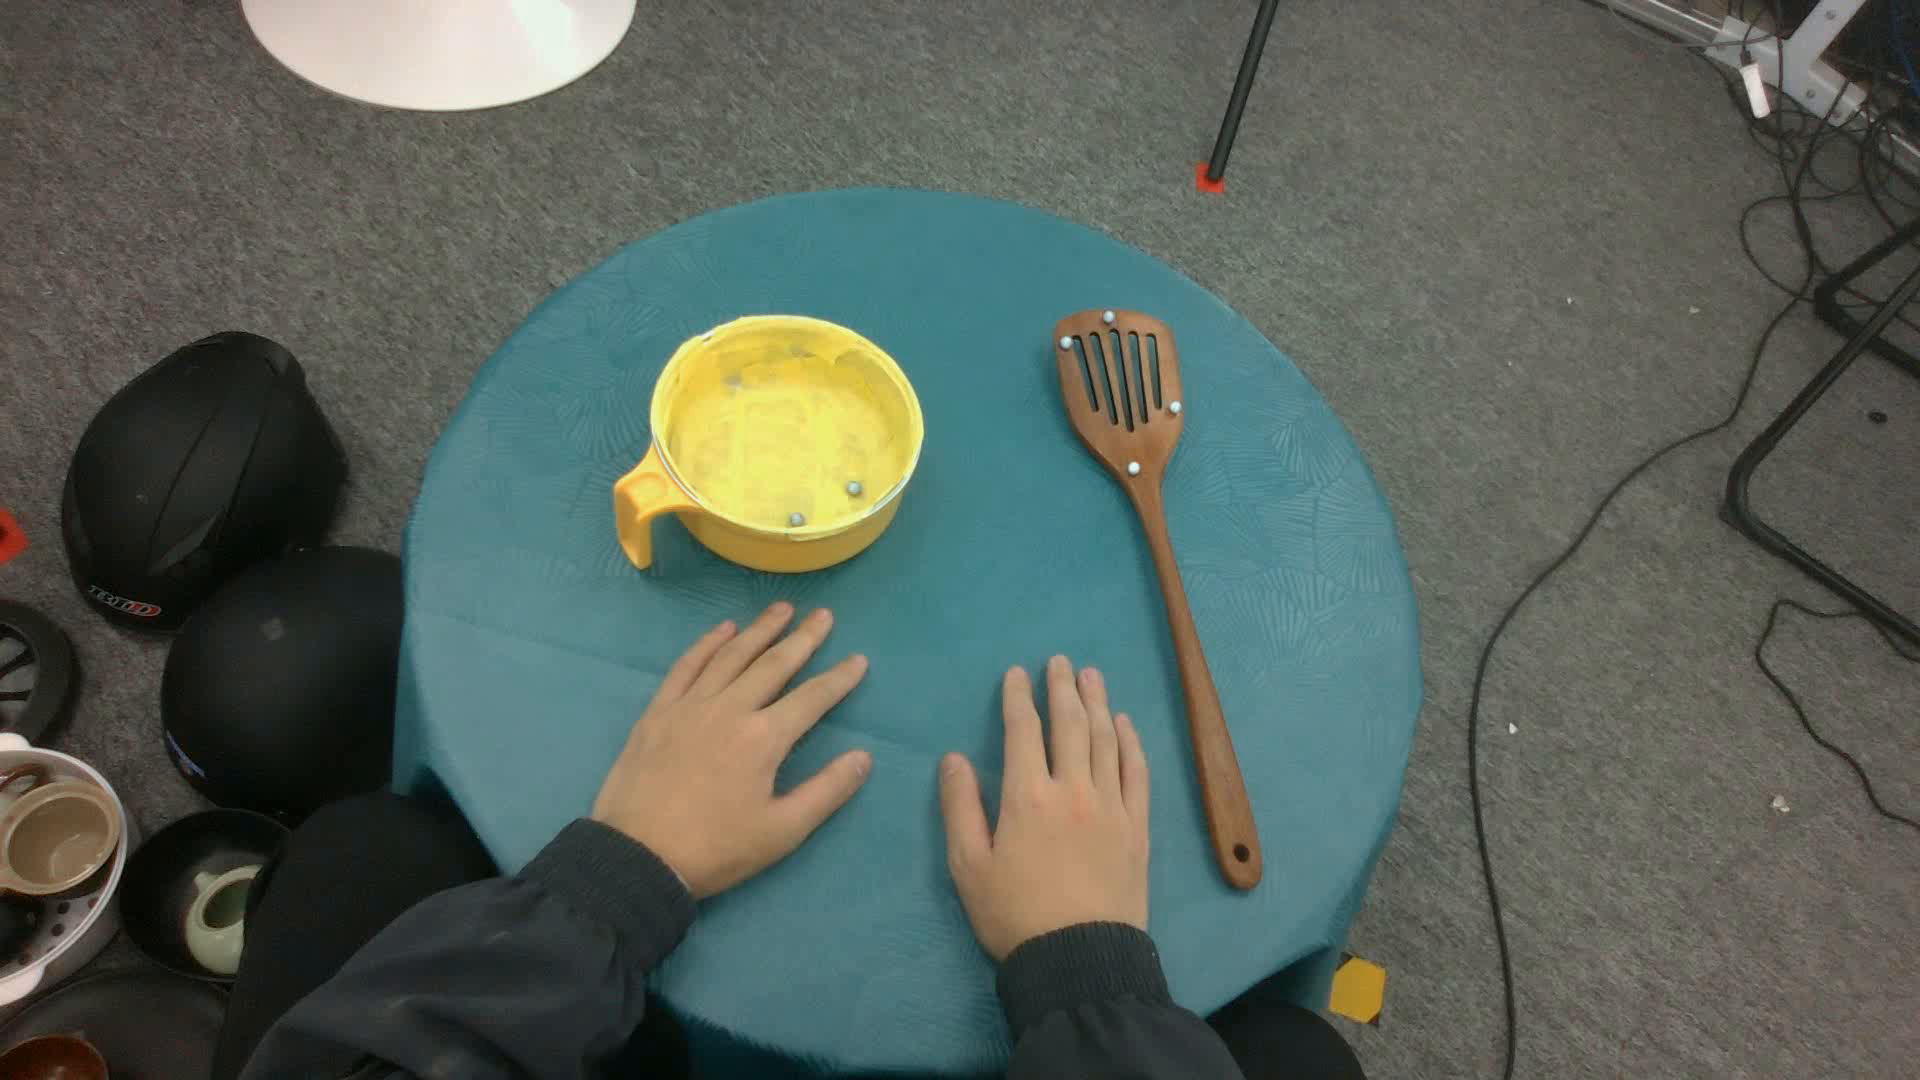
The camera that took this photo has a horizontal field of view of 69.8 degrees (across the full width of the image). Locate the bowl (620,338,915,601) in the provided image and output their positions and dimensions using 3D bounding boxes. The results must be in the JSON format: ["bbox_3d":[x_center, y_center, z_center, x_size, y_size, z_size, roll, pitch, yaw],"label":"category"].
[{"bbox_3d":[-0.116,-0.035,0.809,0.180,0.074,0.153,-37,69,-27],"label":"bowl"}]

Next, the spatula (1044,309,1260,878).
[{"bbox_3d":[0.123,0.016,0.839,0.085,0.024,0.388,-4,60,-10],"label":"spatula"}]
